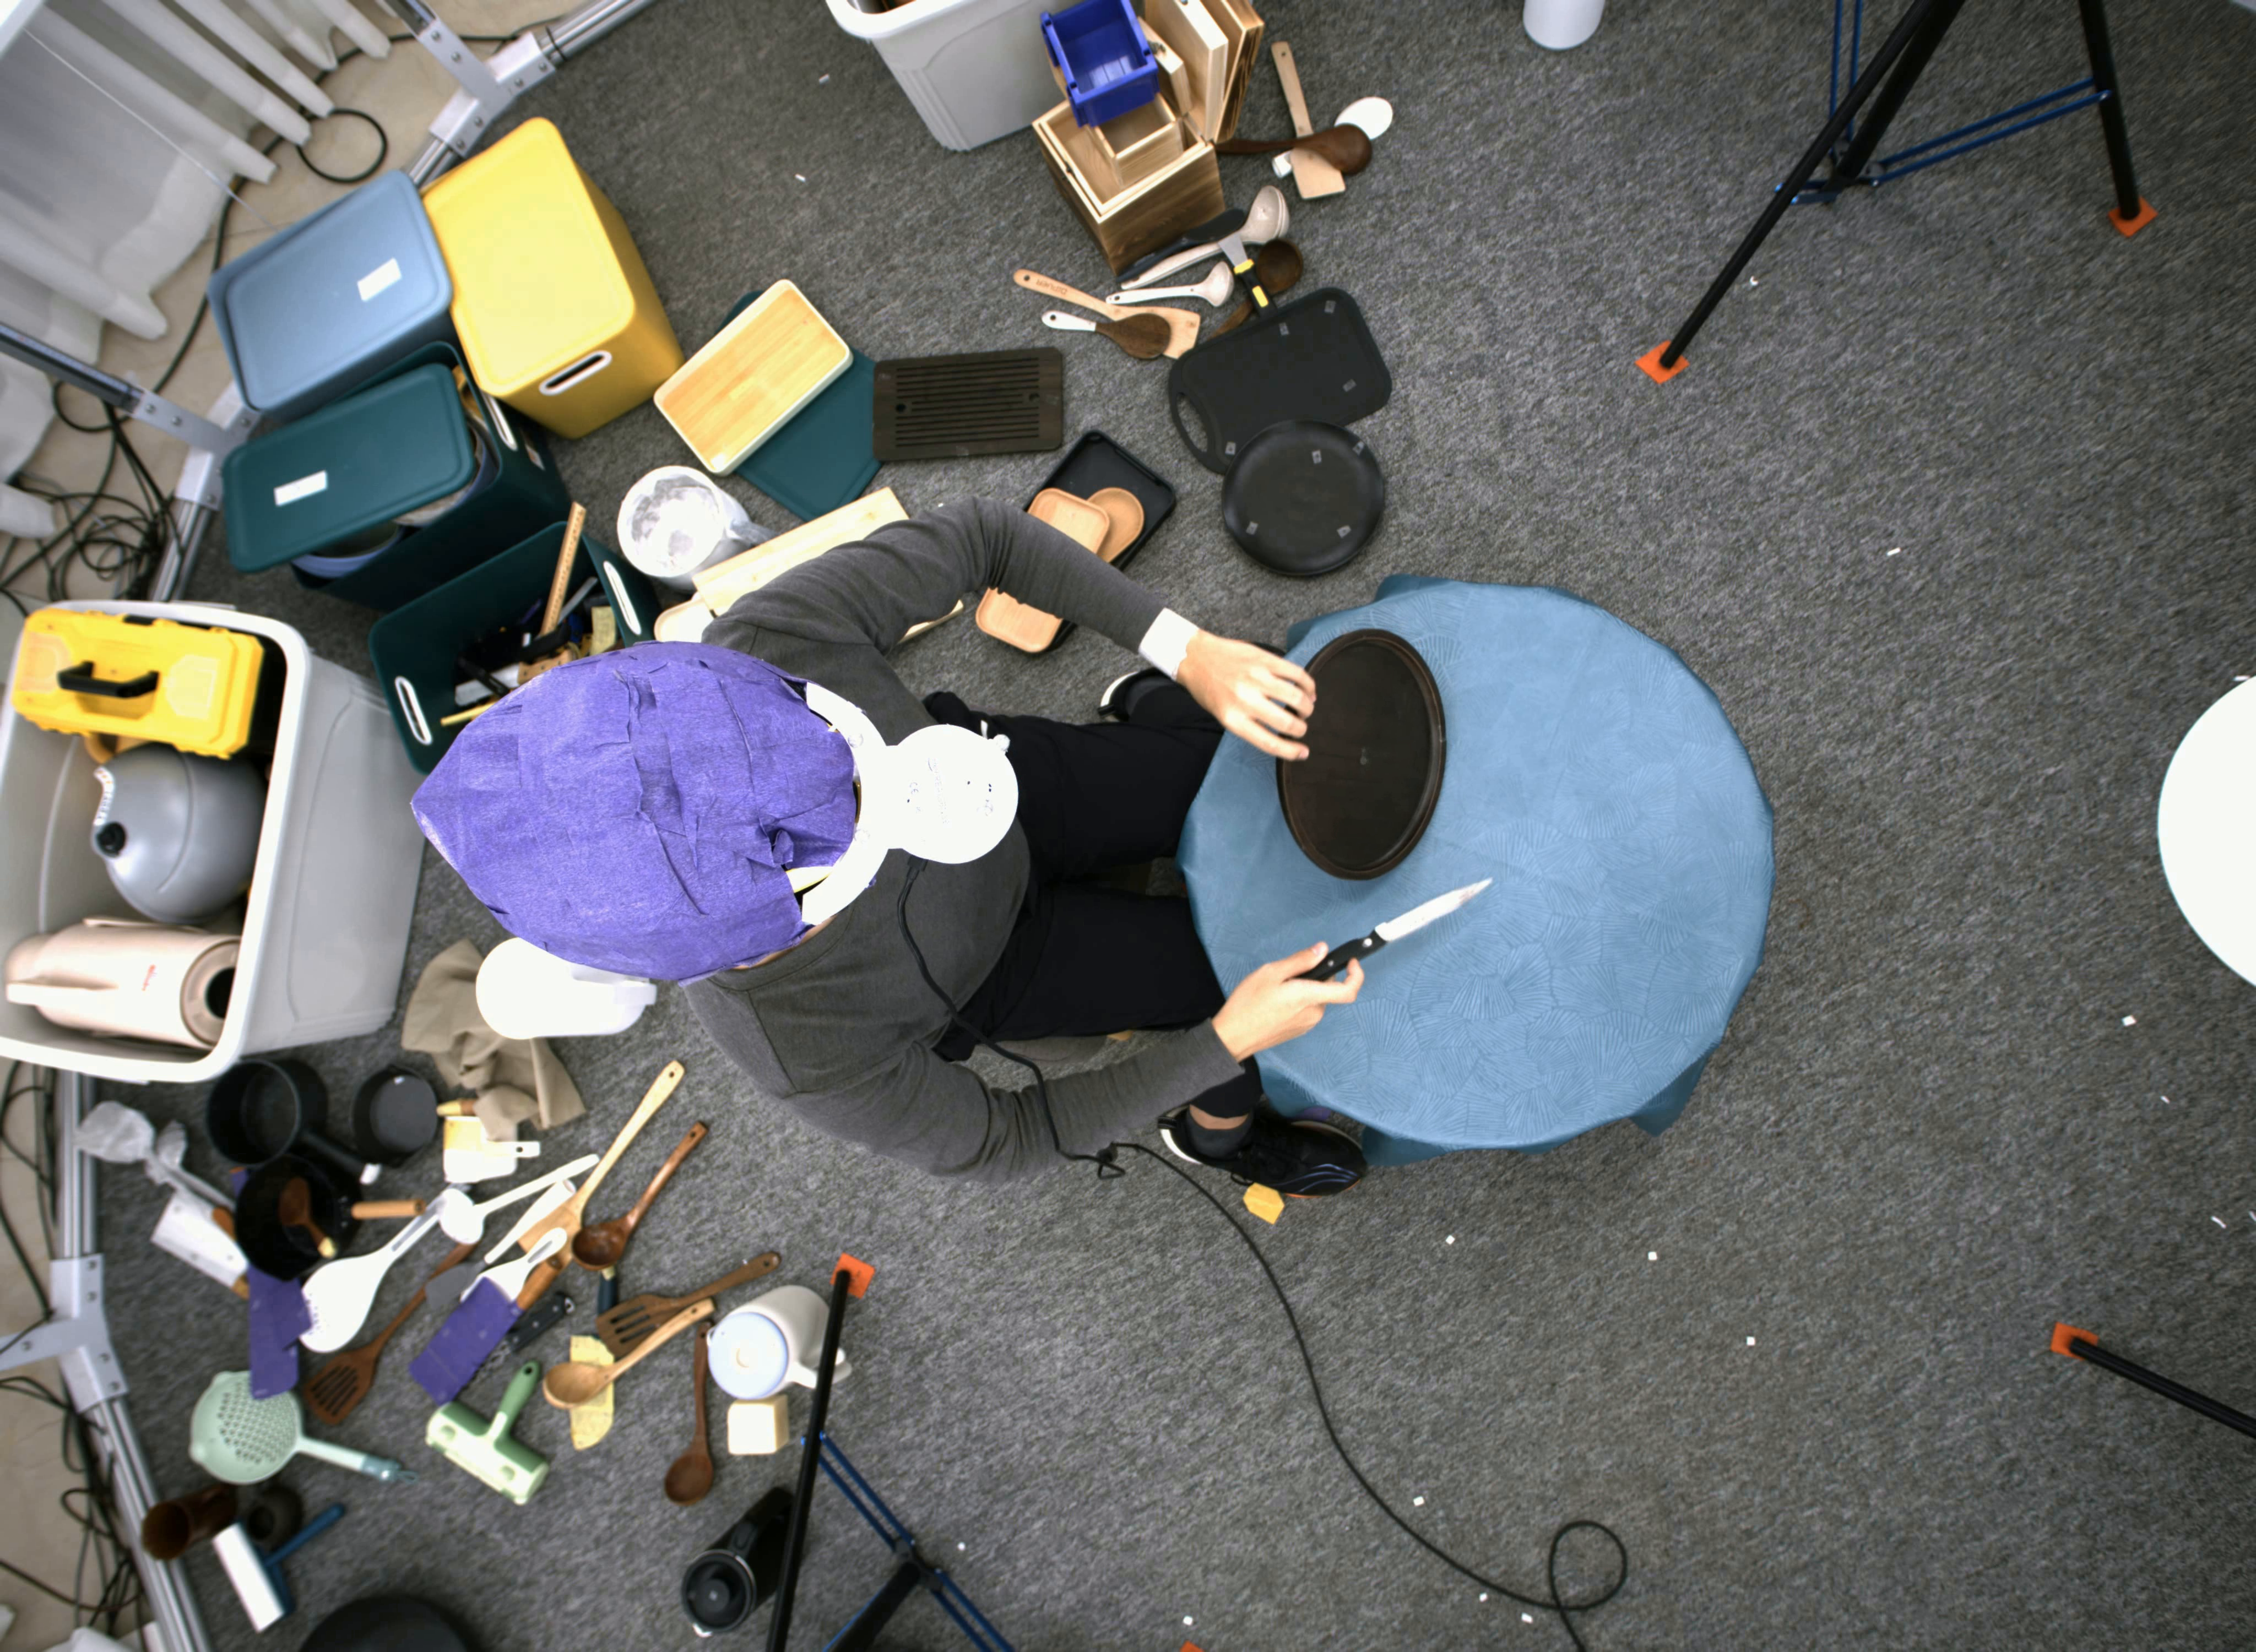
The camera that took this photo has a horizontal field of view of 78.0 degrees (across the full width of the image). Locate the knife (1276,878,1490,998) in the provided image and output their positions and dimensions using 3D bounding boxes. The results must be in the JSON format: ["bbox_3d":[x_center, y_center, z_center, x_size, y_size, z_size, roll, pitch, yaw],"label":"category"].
[{"bbox_3d":[0.252,0.107,1.344,0.238,0.016,0.024,-28,59,-3],"label":"knife"}]

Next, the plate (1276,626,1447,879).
[{"bbox_3d":[0.235,-0.074,1.375,0.029,0.255,0.254,10,87,48],"label":"plate"}]
